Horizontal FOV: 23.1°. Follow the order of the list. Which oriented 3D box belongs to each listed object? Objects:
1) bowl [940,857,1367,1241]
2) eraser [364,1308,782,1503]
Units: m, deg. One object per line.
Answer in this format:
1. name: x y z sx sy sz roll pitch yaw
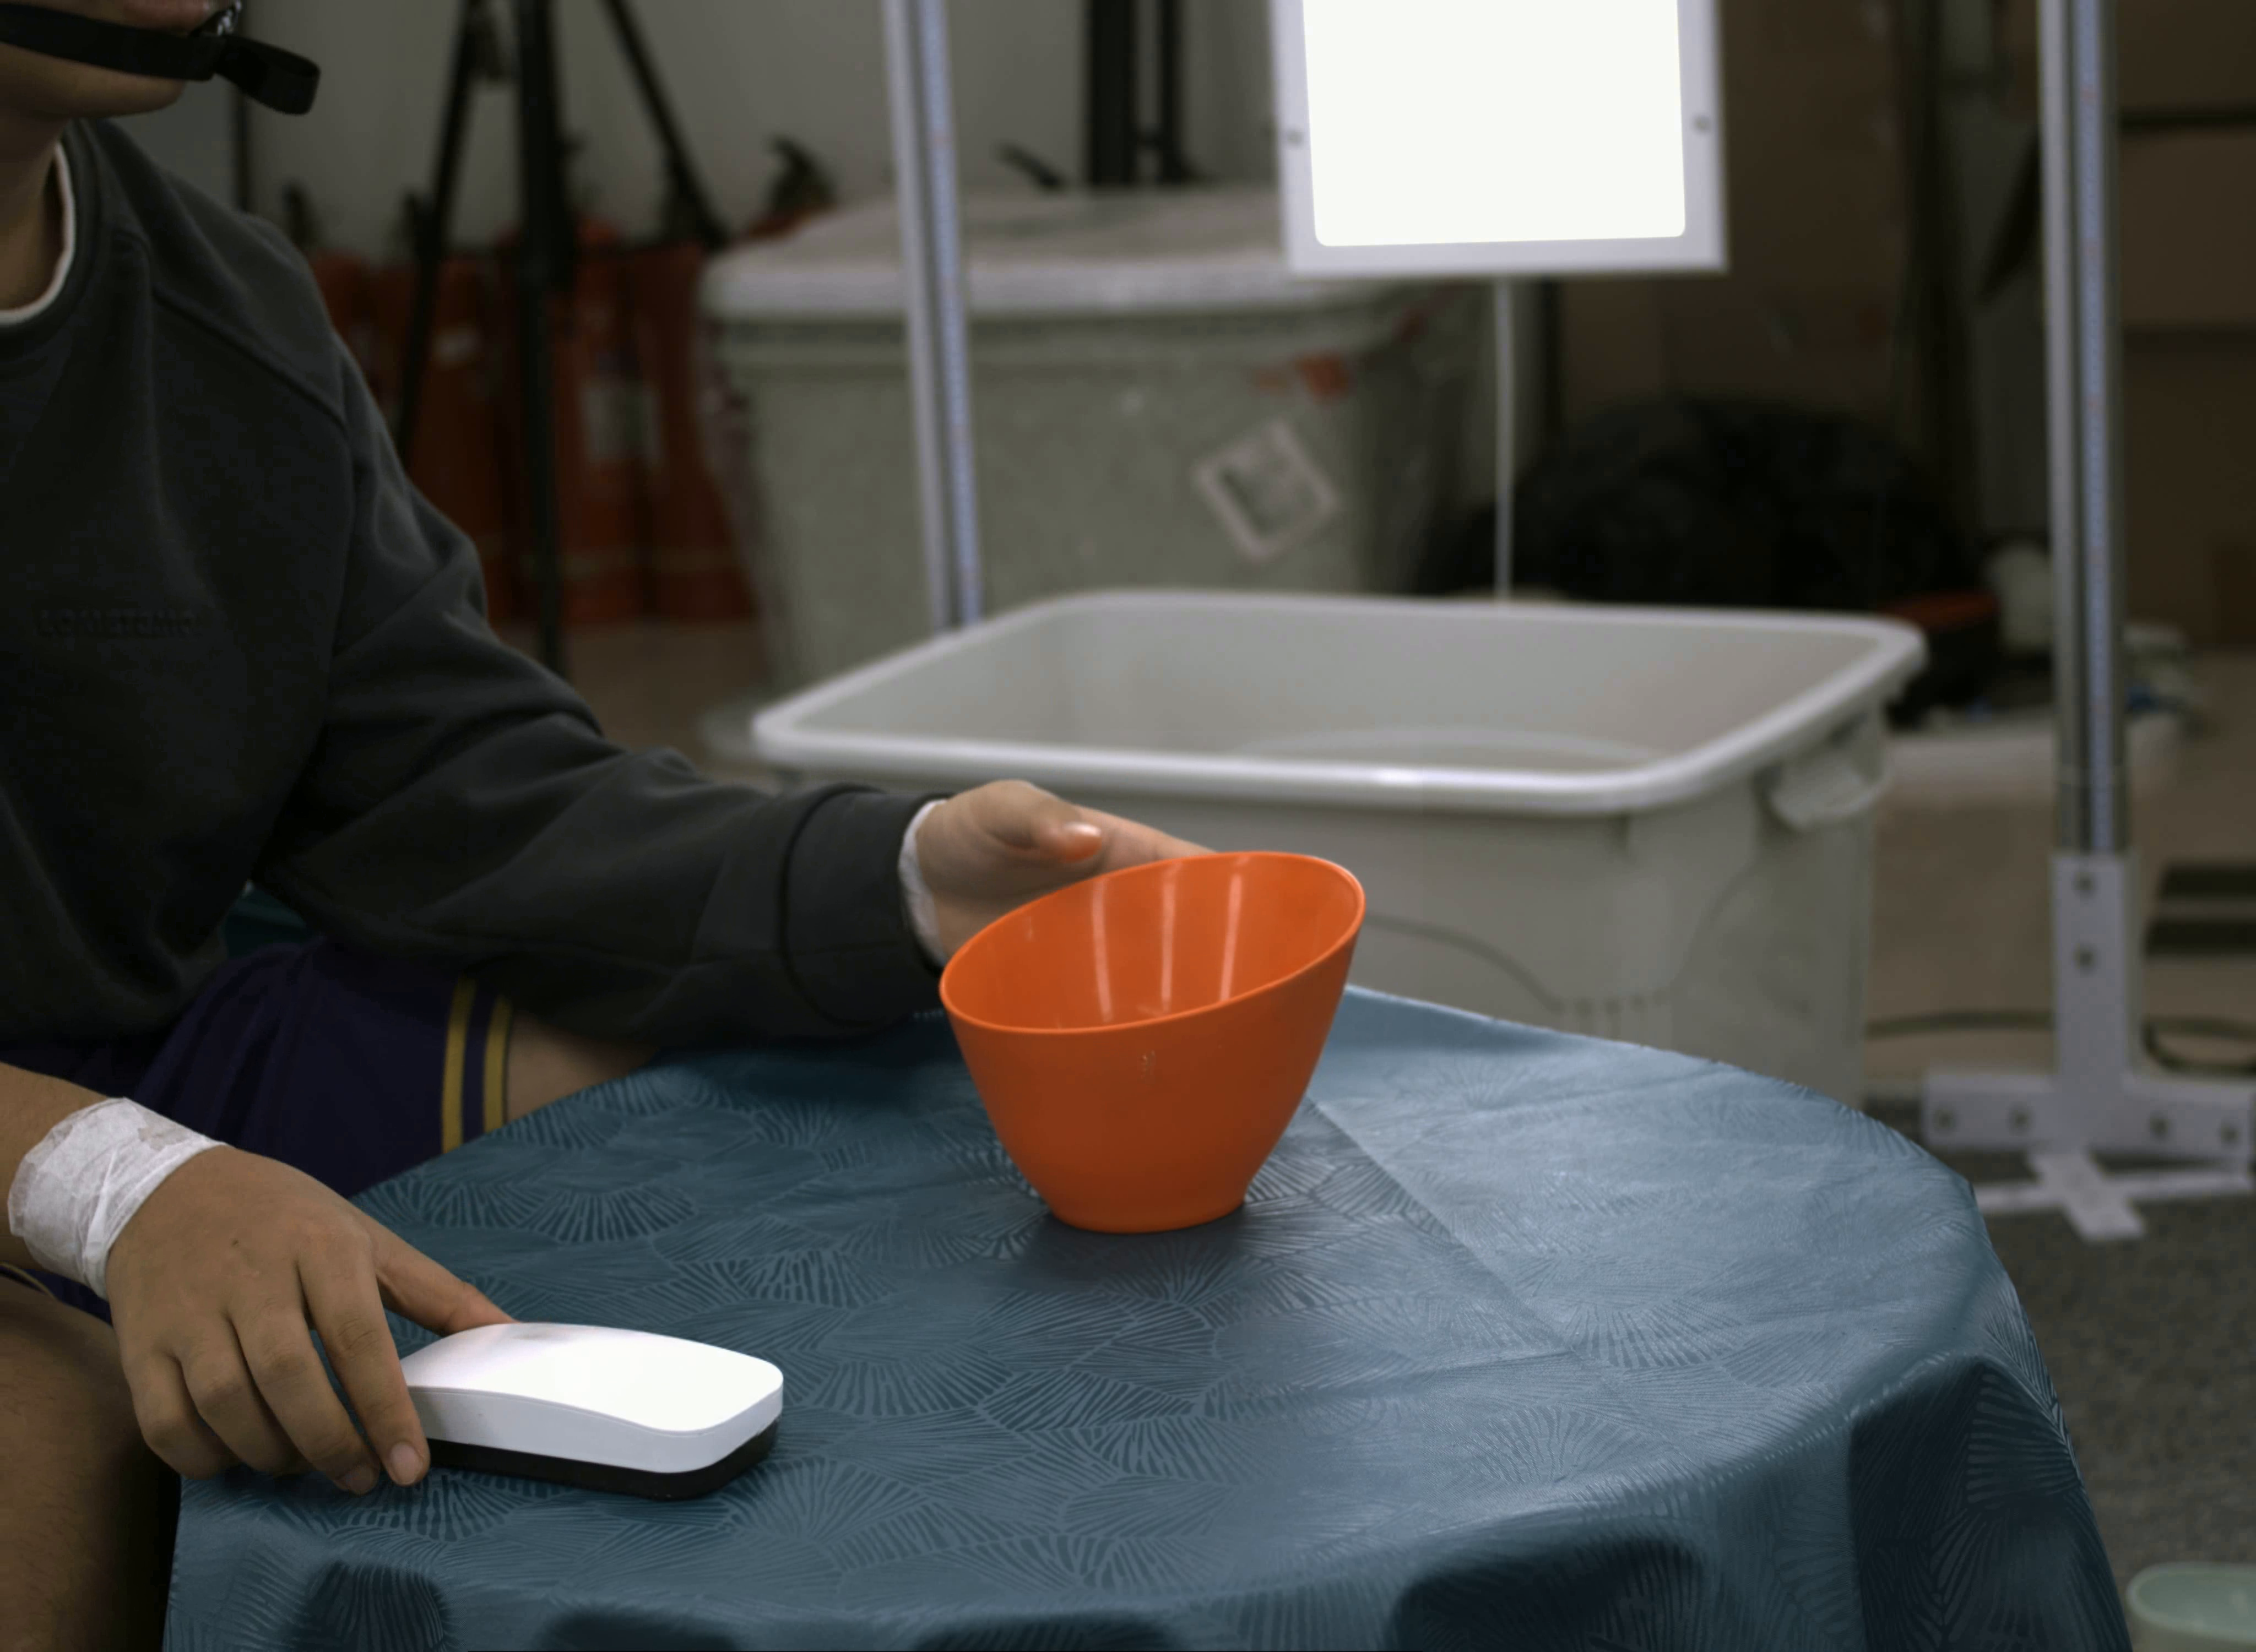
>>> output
1. bowl: 0.013 0.079 1.876 0.147 0.105 0.148 -6 14 0
2. eraser: -0.169 0.175 1.691 0.134 0.034 0.062 7 17 34
